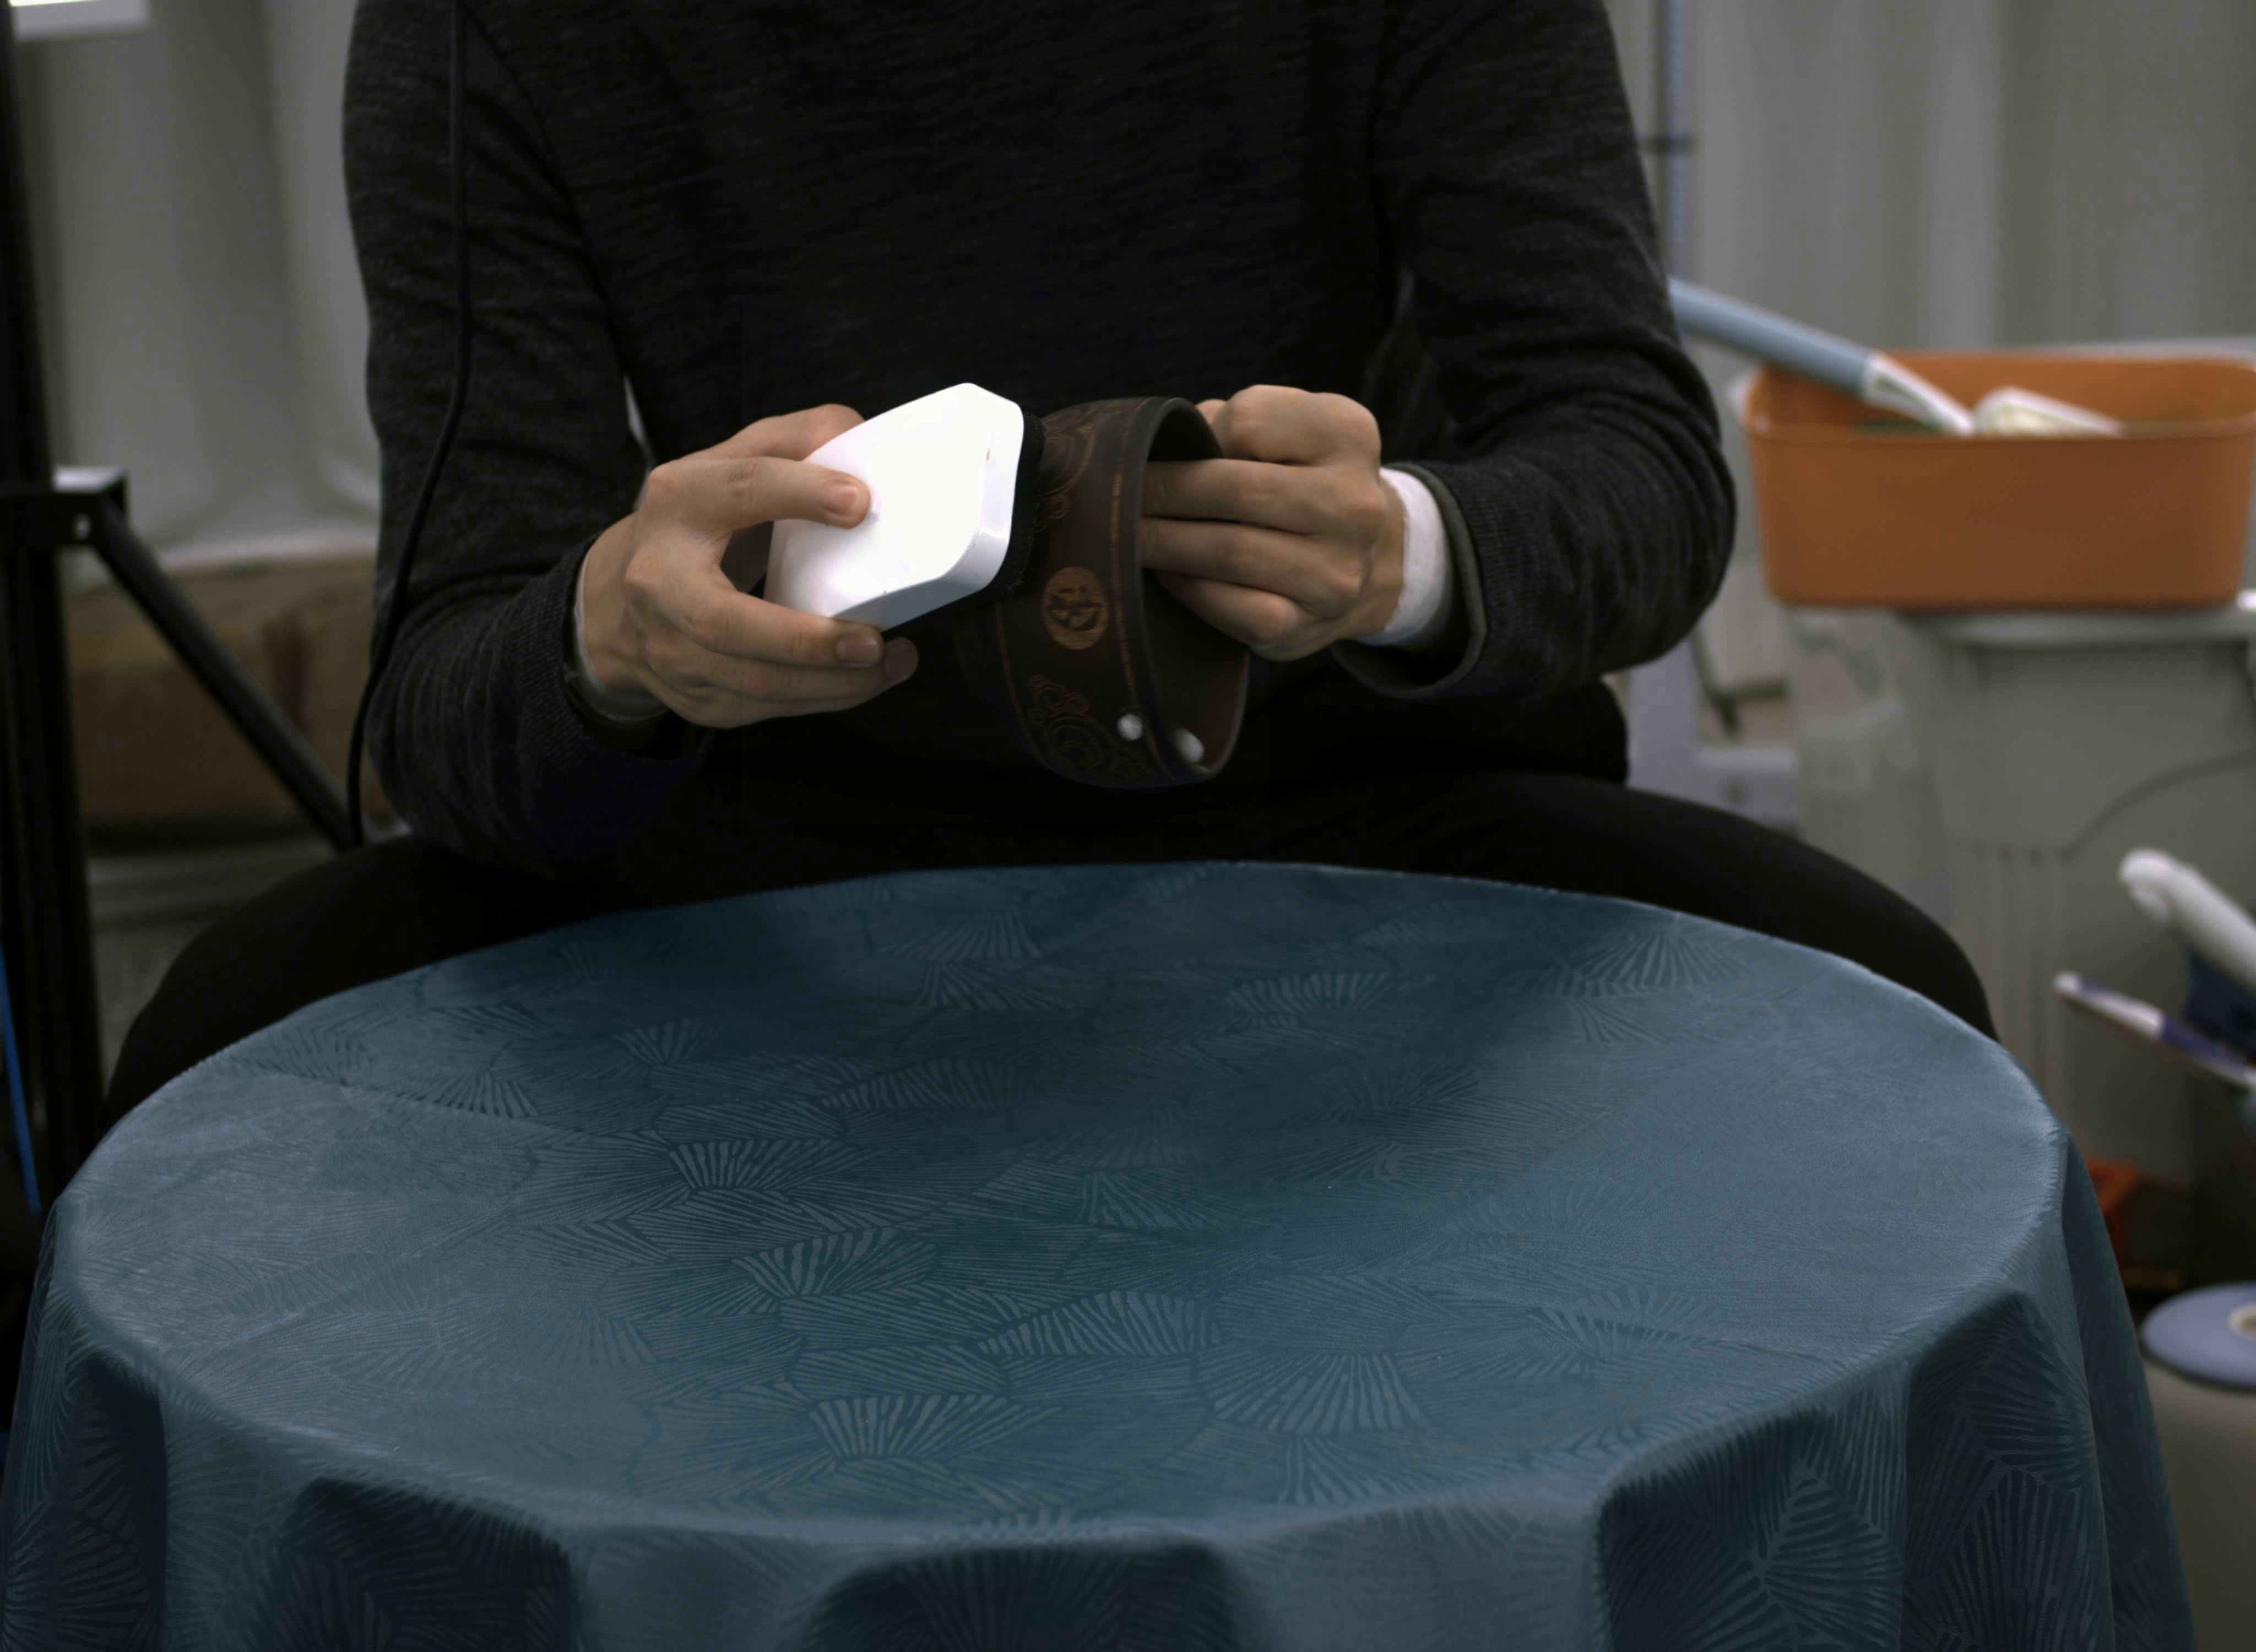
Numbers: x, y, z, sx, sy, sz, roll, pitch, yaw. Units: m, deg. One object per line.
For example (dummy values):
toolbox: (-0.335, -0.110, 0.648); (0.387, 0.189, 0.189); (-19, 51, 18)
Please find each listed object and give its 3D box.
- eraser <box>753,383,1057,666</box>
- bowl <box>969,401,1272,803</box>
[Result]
eraser: (-0.069, -0.089, 1.577); (0.034, 0.064, 0.133); (19, -19, -29)
bowl: (-0.006, -0.063, 1.591); (0.070, 0.118, 0.117); (-11, 13, 16)
